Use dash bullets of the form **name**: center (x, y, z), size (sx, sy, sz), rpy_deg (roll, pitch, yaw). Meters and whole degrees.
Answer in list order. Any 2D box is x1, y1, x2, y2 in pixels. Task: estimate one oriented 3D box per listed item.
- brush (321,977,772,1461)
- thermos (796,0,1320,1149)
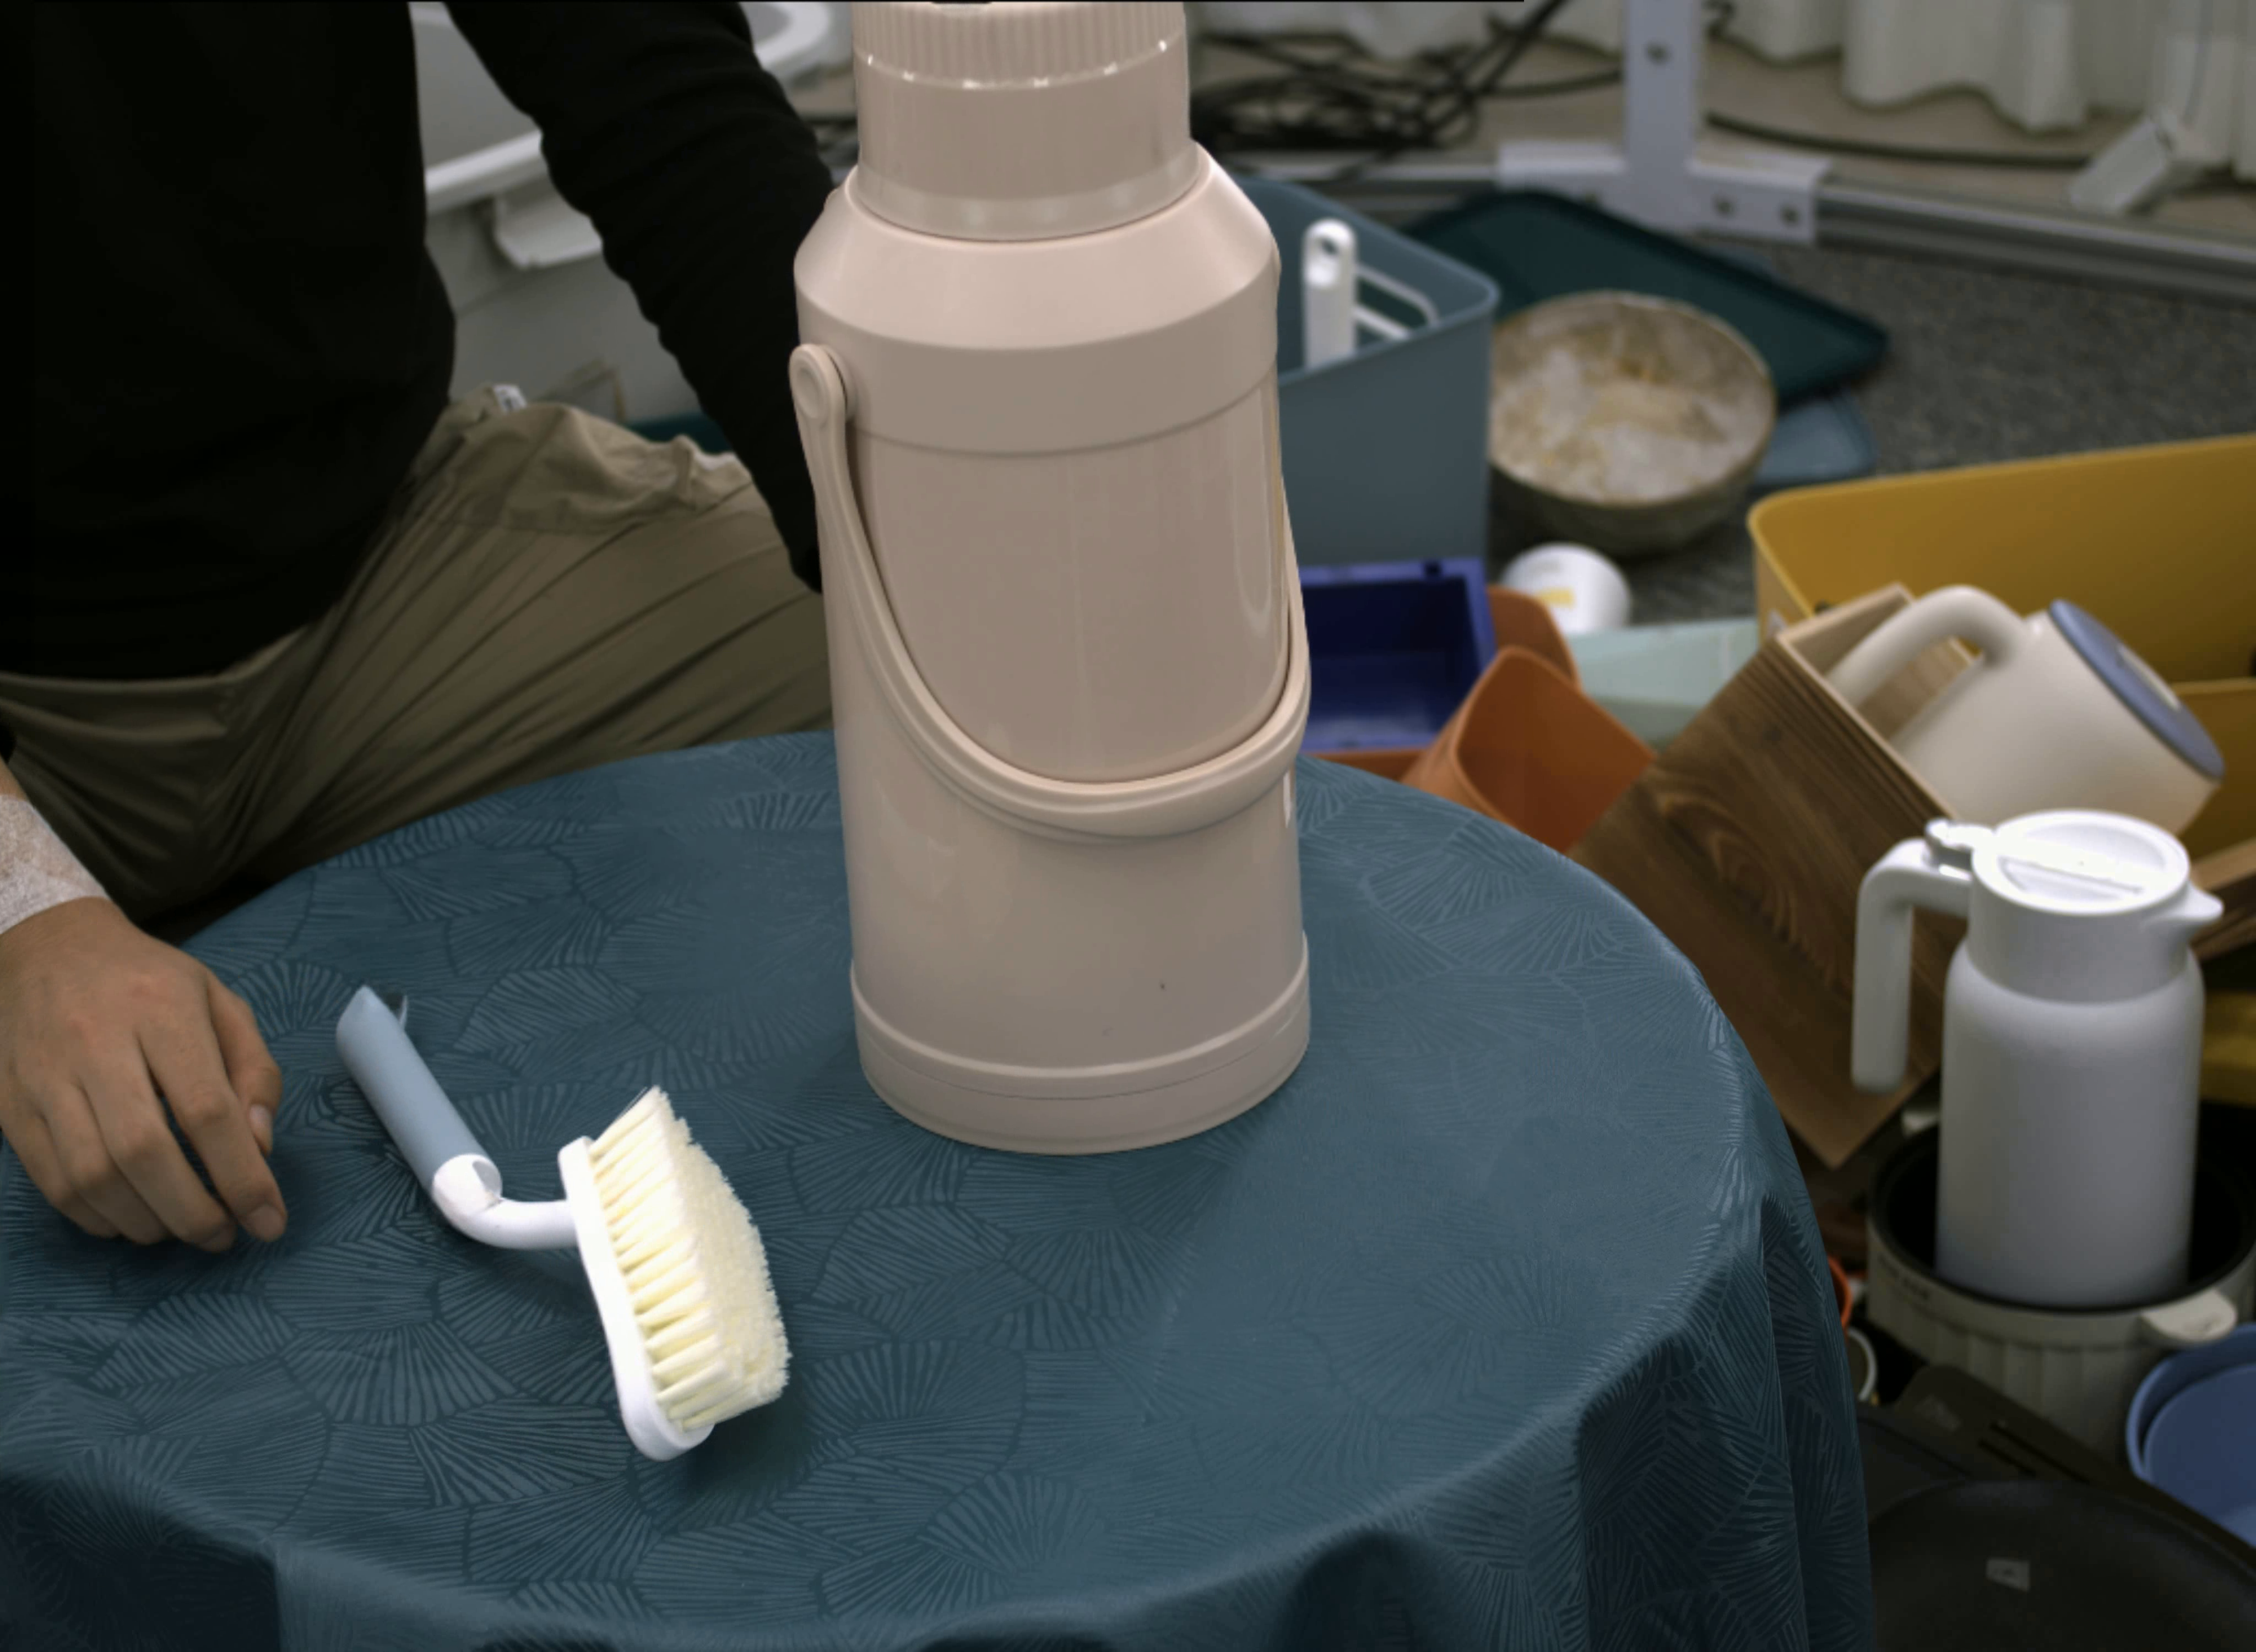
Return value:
- **brush**: center (-0.184, 0.103, 1.839), size (0.084, 0.082, 0.327), rpy_deg (-1, 23, -24)
- **thermos**: center (-0.030, -0.108, 1.881), size (0.177, 0.402, 0.207), rpy_deg (-21, 31, -29)
